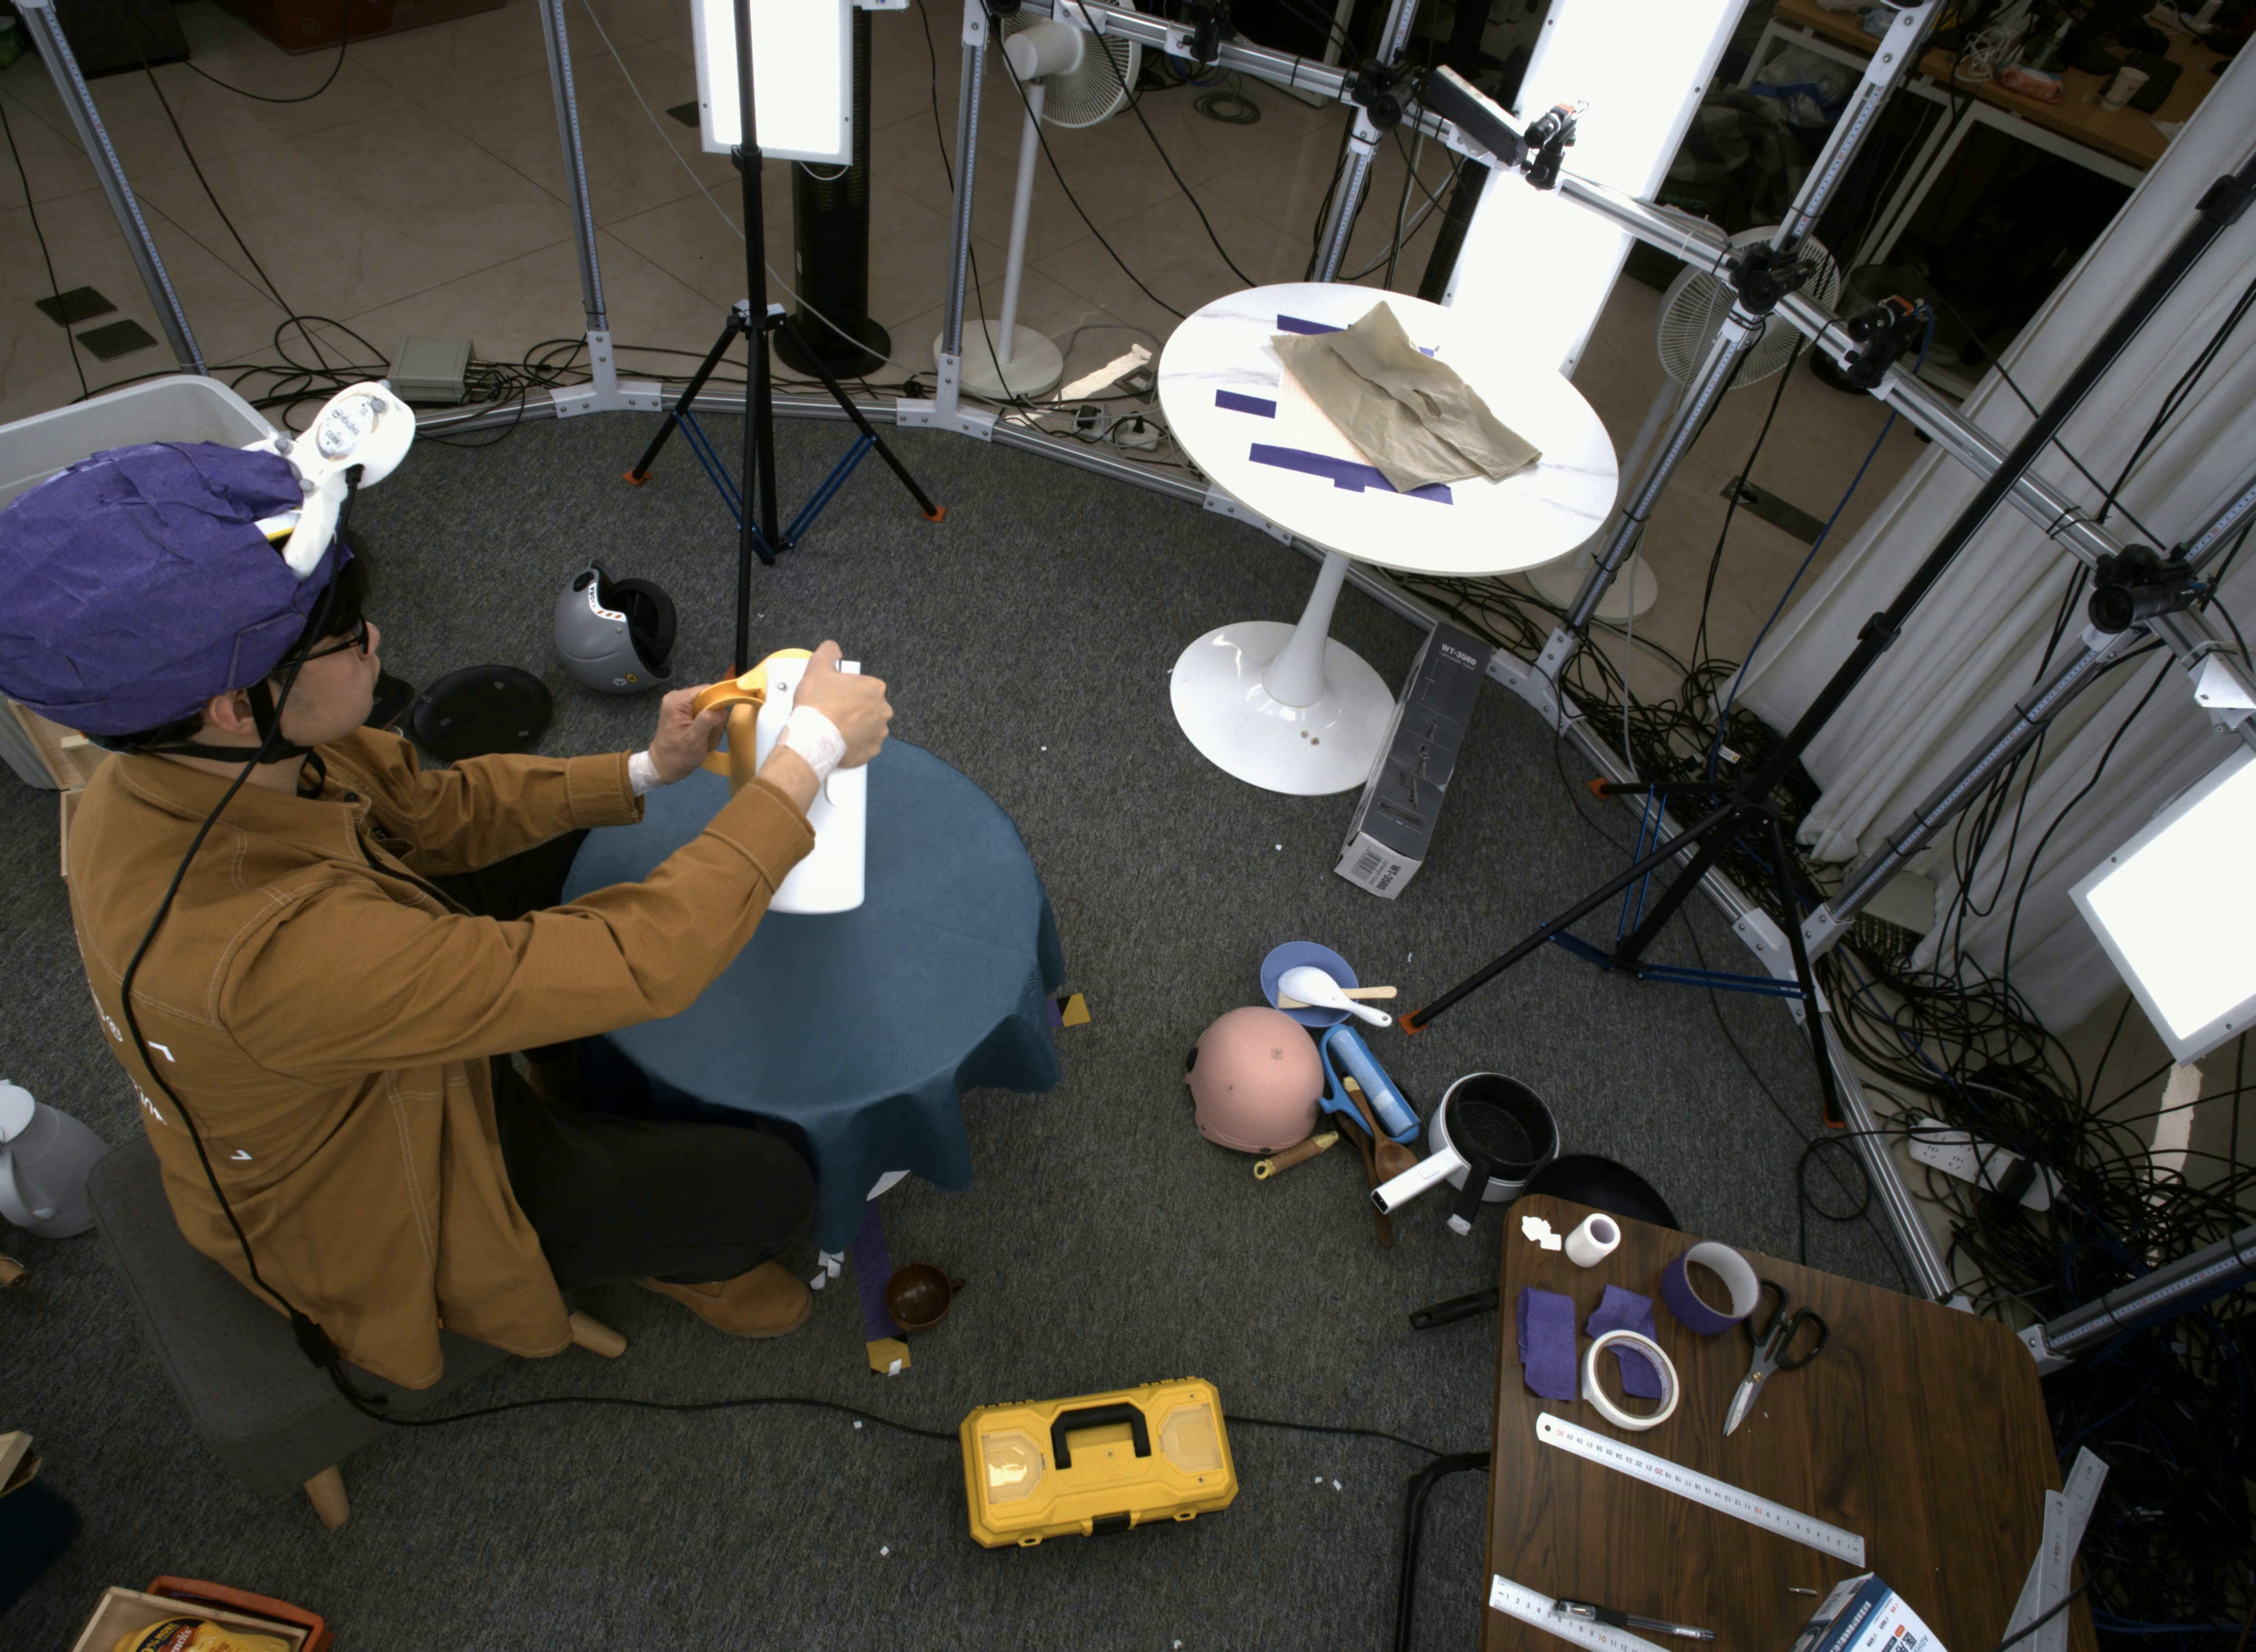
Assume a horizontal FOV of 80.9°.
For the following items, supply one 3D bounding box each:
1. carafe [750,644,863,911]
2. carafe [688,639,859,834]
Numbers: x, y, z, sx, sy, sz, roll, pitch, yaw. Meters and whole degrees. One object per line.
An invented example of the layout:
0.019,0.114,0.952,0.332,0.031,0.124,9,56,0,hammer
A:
-0.330,-0.050,1.354,0.126,0.167,0.273,0,96,-30,carafe
-0.430,-0.108,1.574,0.203,0.265,0.160,-6,55,-20,carafe
